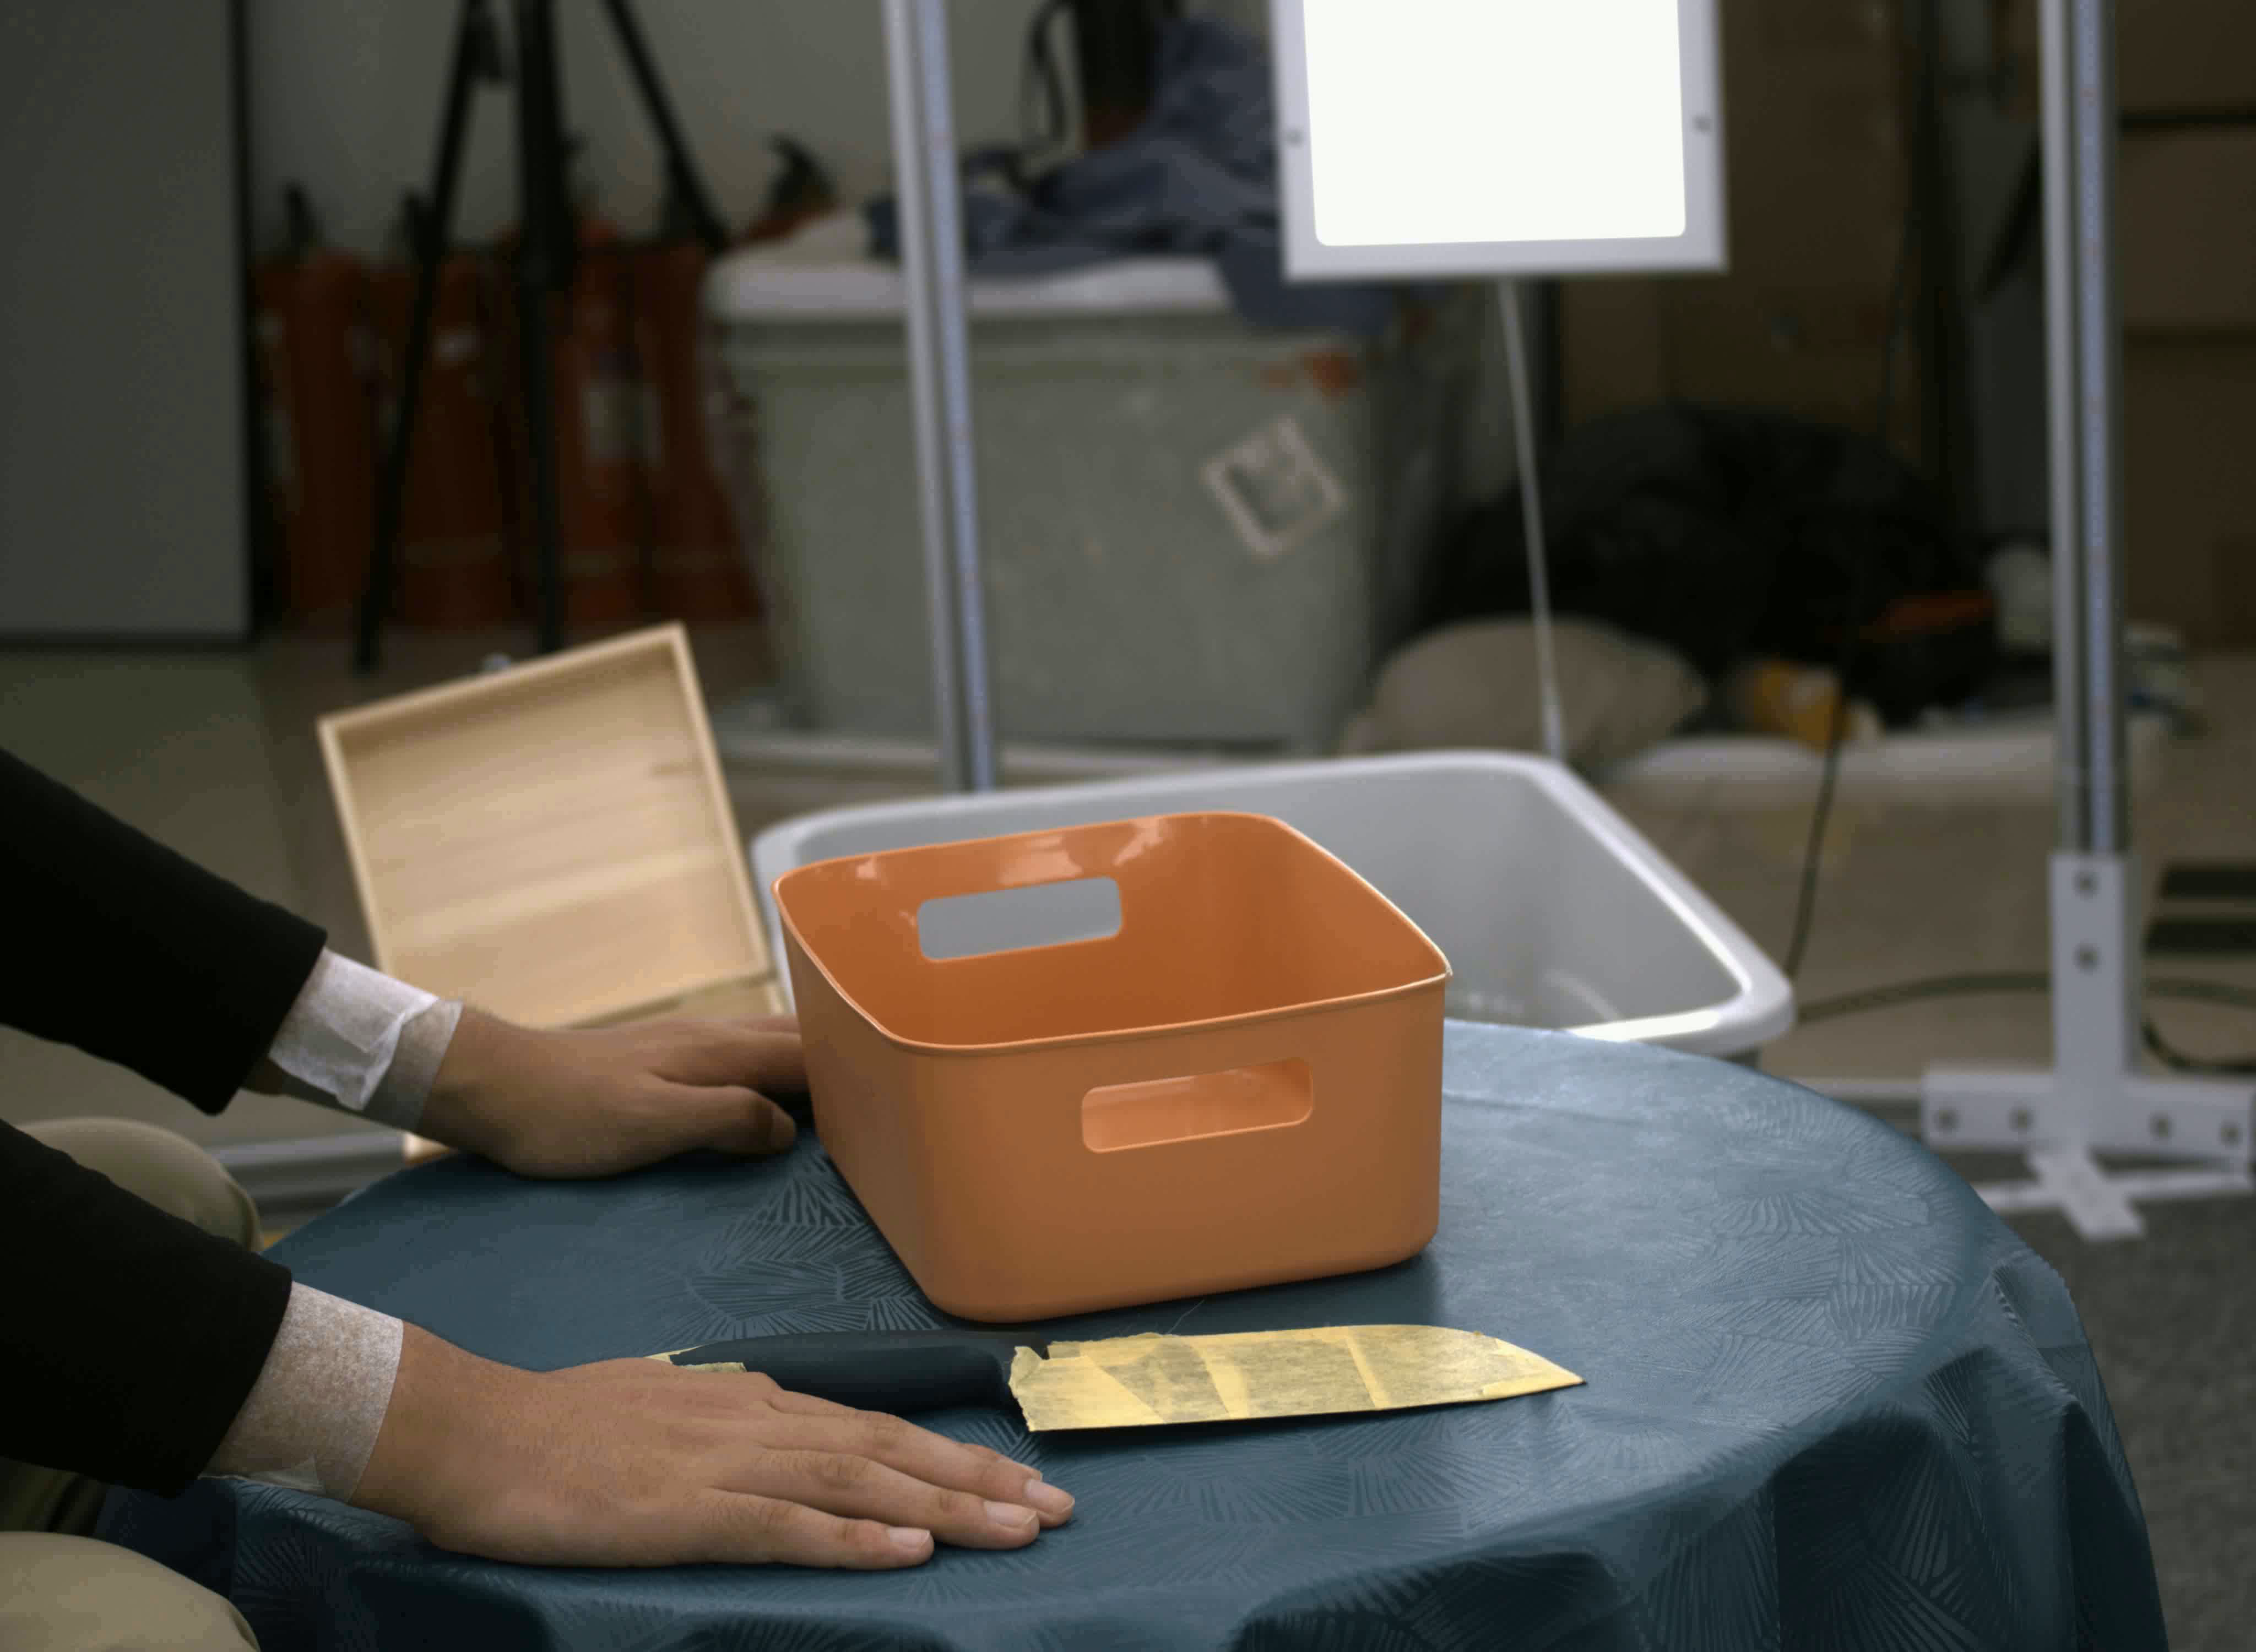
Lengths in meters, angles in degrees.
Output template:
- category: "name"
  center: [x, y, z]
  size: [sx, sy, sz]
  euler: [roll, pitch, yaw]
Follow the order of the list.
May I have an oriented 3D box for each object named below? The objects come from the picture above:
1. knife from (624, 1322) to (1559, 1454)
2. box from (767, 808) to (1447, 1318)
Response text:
- category: "knife"
  center: [-0.010, 0.172, 1.688]
  size: [0.288, 0.027, 0.081]
  euler: [-5, 11, 0]
- category: "box"
  center: [-0.010, 0.079, 1.878]
  size: [0.197, 0.103, 0.275]
  euler: [-7, 14, -12]
